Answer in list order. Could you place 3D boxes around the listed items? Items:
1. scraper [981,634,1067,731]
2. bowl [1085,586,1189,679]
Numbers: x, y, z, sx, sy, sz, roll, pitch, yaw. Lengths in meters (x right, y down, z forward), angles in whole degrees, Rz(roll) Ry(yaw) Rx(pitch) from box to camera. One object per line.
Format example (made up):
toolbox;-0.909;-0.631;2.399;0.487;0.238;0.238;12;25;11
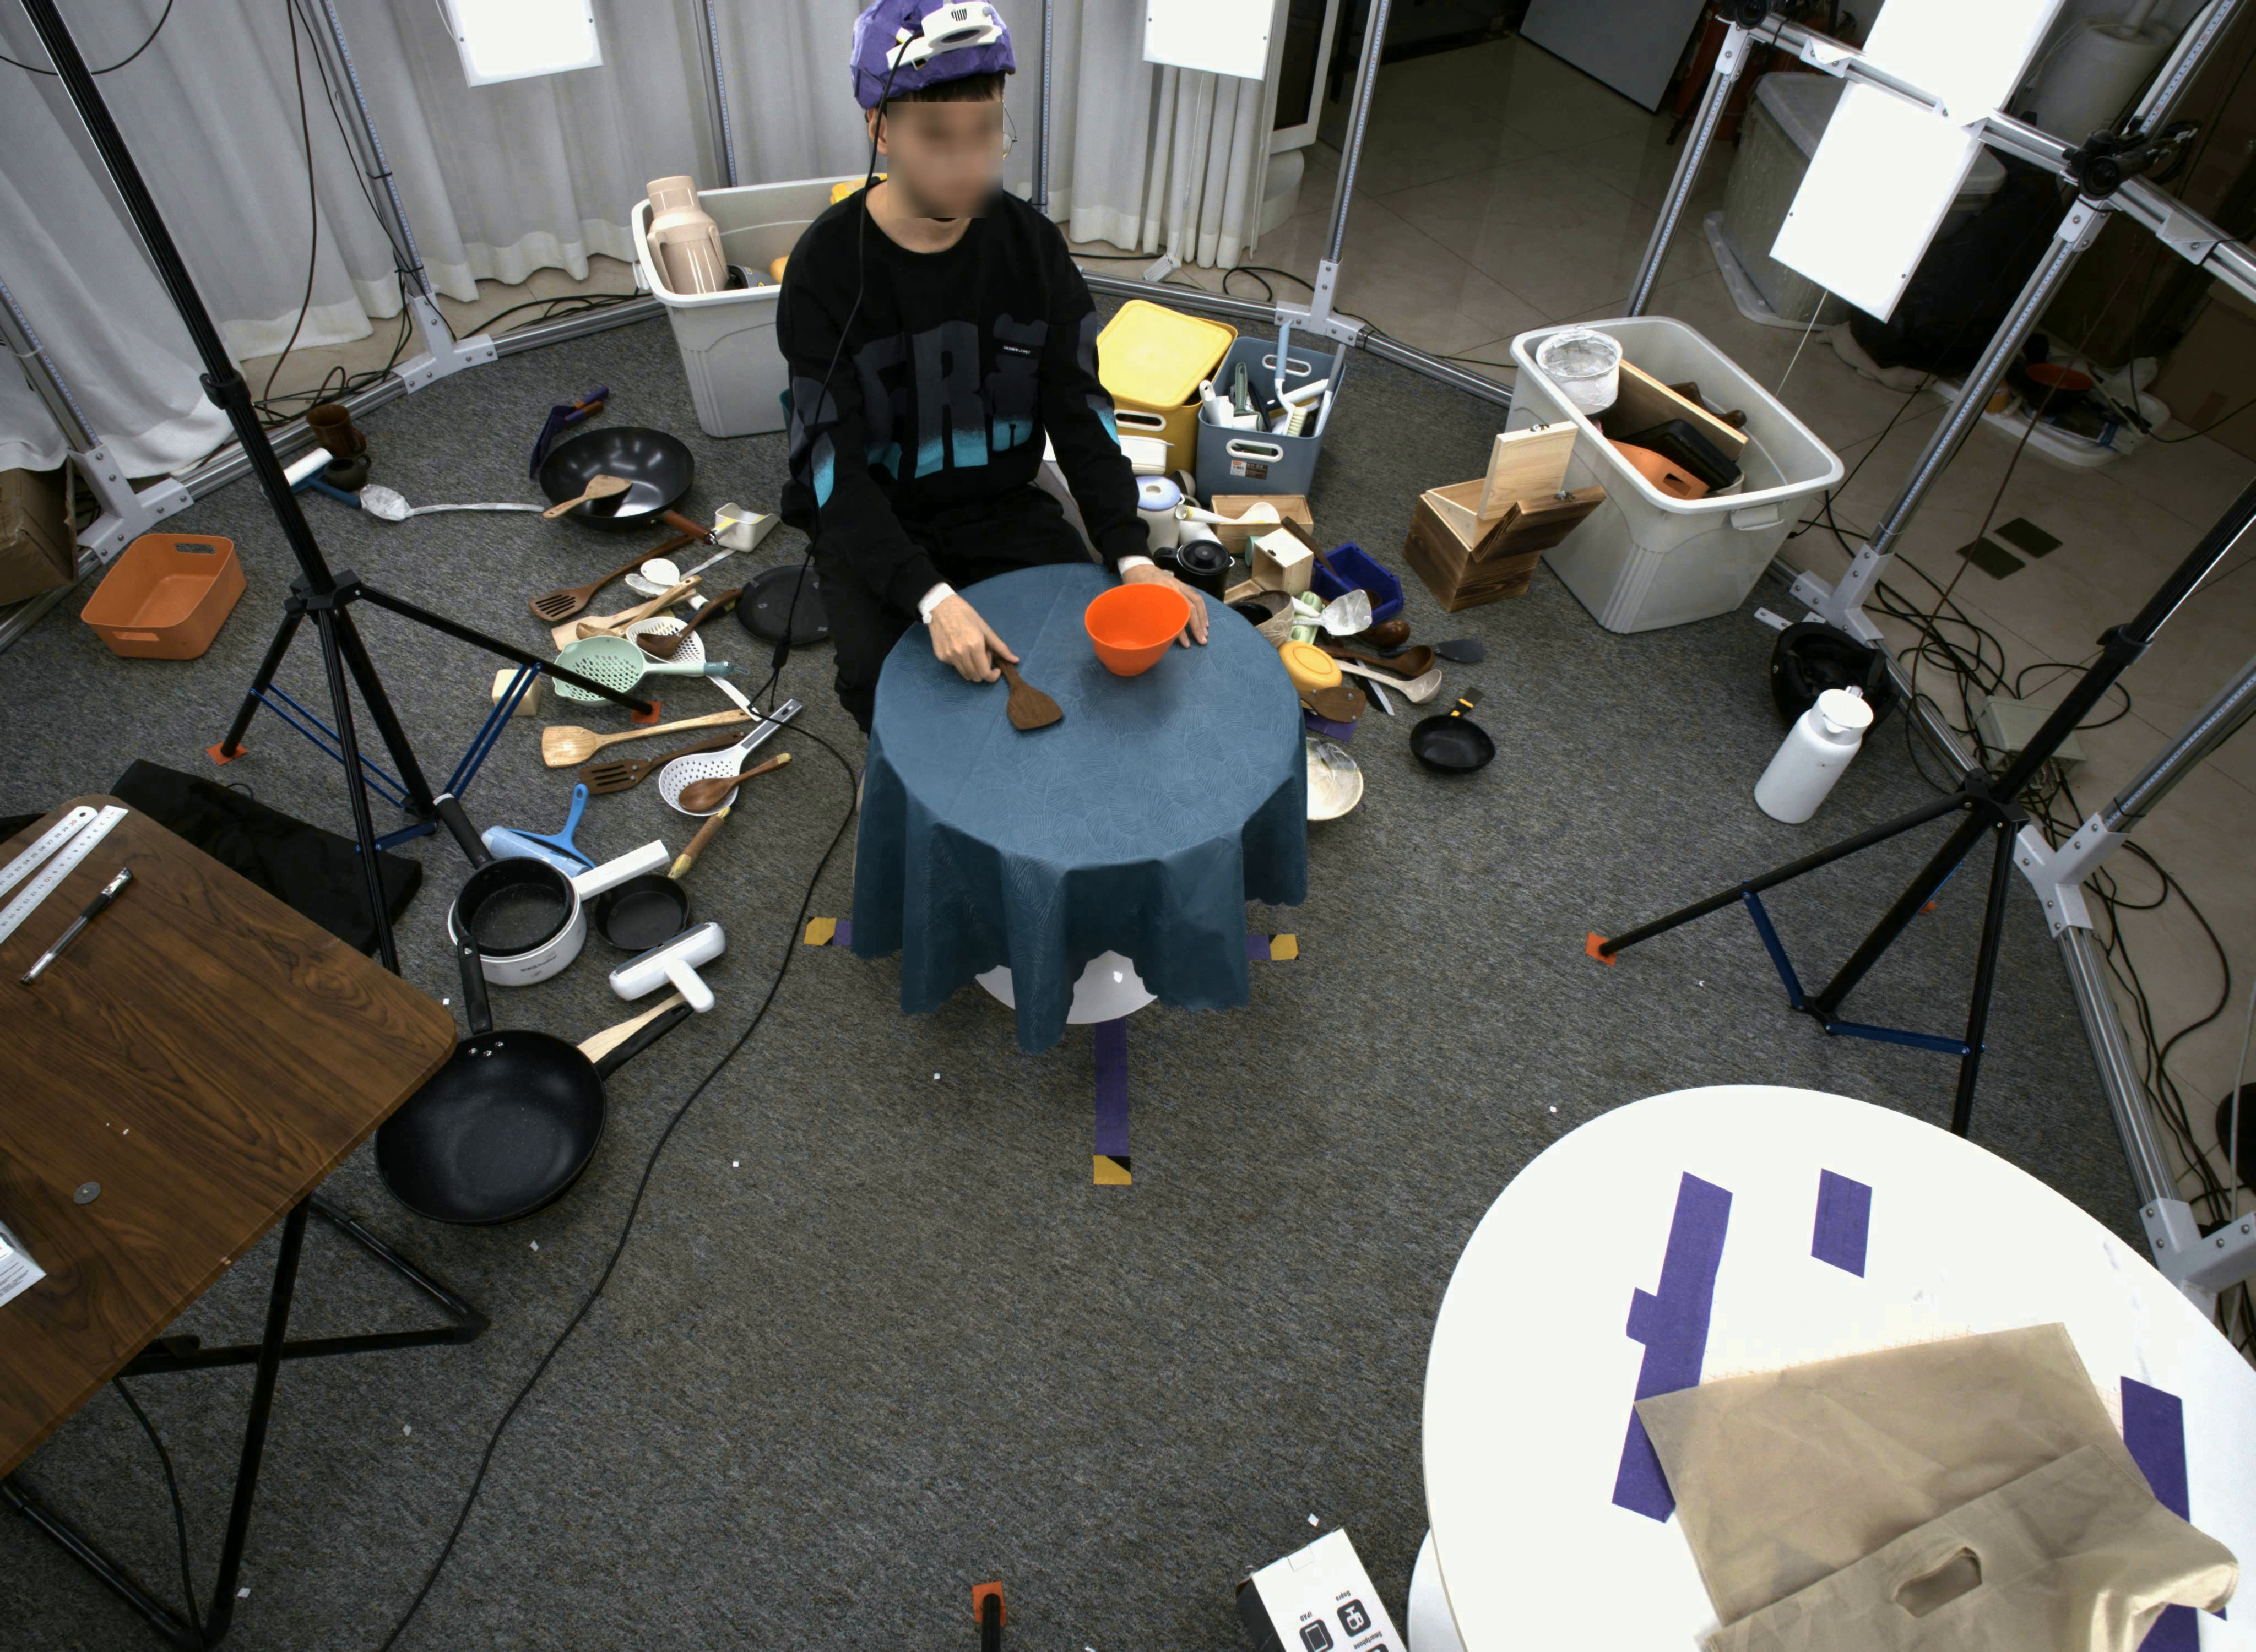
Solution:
scraper;-0.161;-0.209;1.851;0.076;0.010;0.216;-17;51;-20
bowl;0.011;-0.269;1.856;0.148;0.102;0.152;1;50;-1
